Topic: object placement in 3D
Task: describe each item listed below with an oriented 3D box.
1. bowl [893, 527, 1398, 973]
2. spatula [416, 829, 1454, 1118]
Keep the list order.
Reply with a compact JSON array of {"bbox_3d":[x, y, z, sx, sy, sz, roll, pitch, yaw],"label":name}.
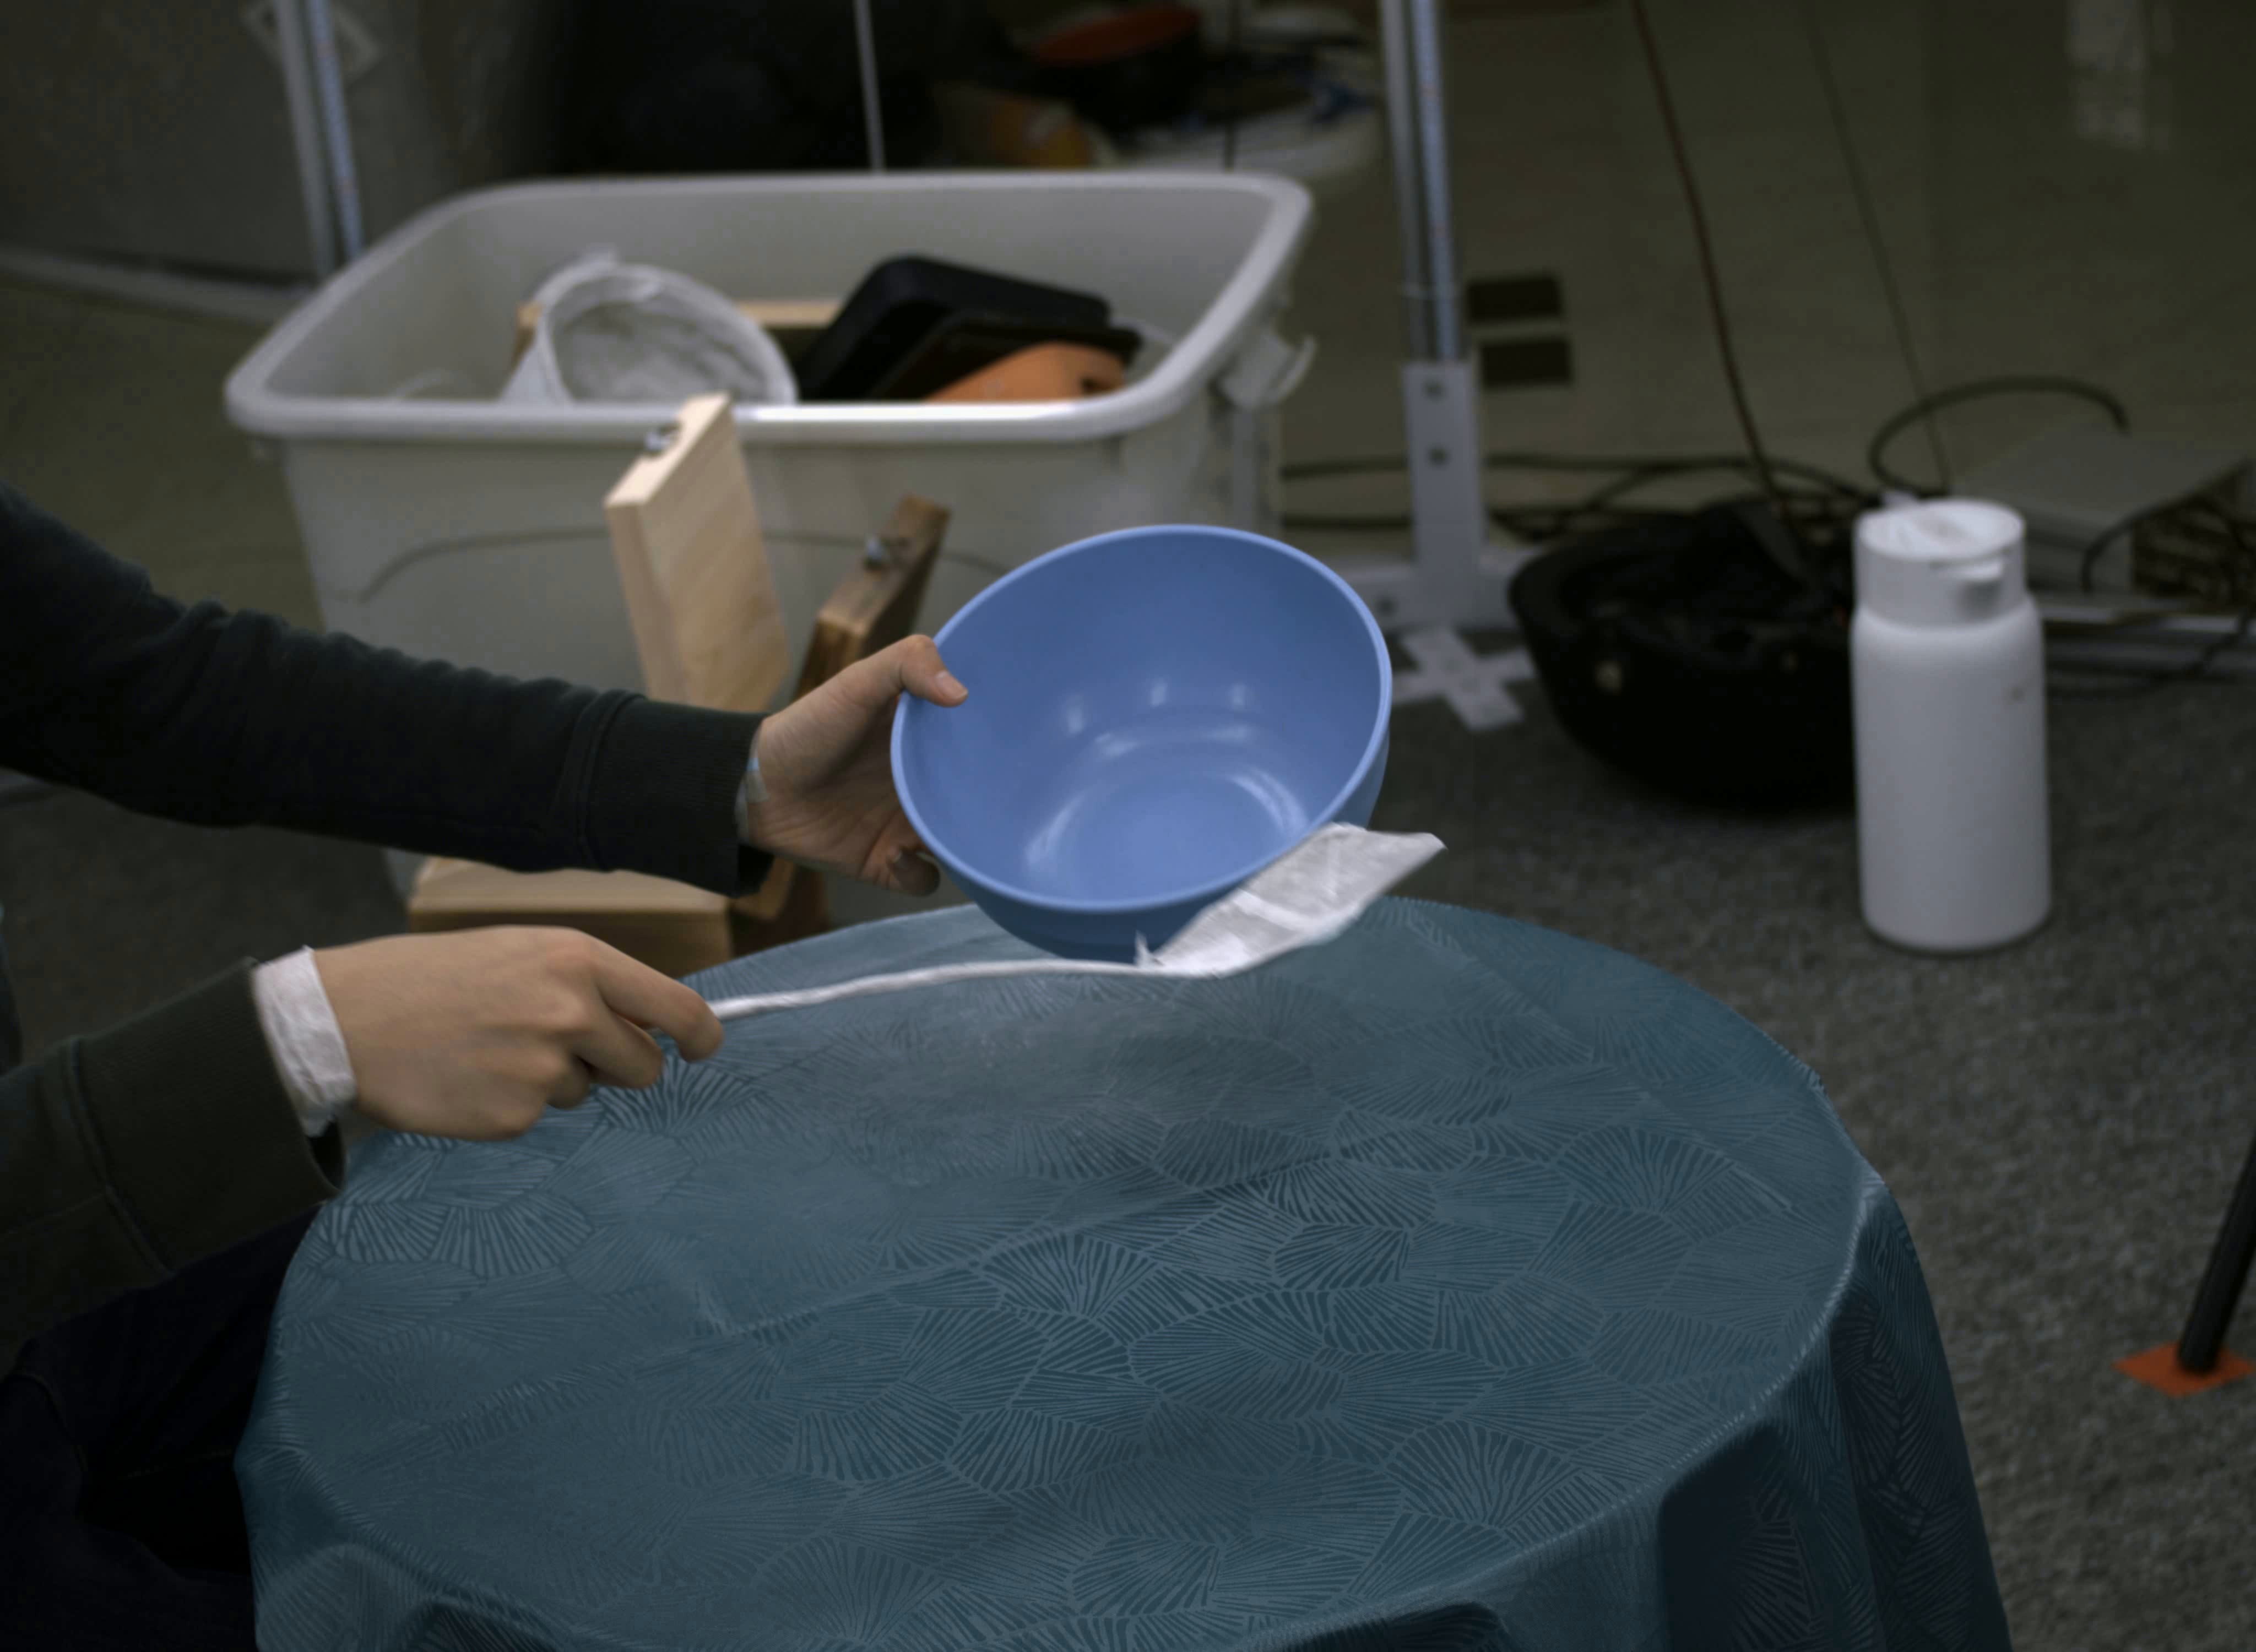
[{"bbox_3d":[0.014,-0.014,2.202,0.196,0.097,0.193,-7,48,7],"label":"bowl"},{"bbox_3d":[-0.063,0.050,1.903,0.364,0.045,0.098,-8,9,-20],"label":"spatula"}]
